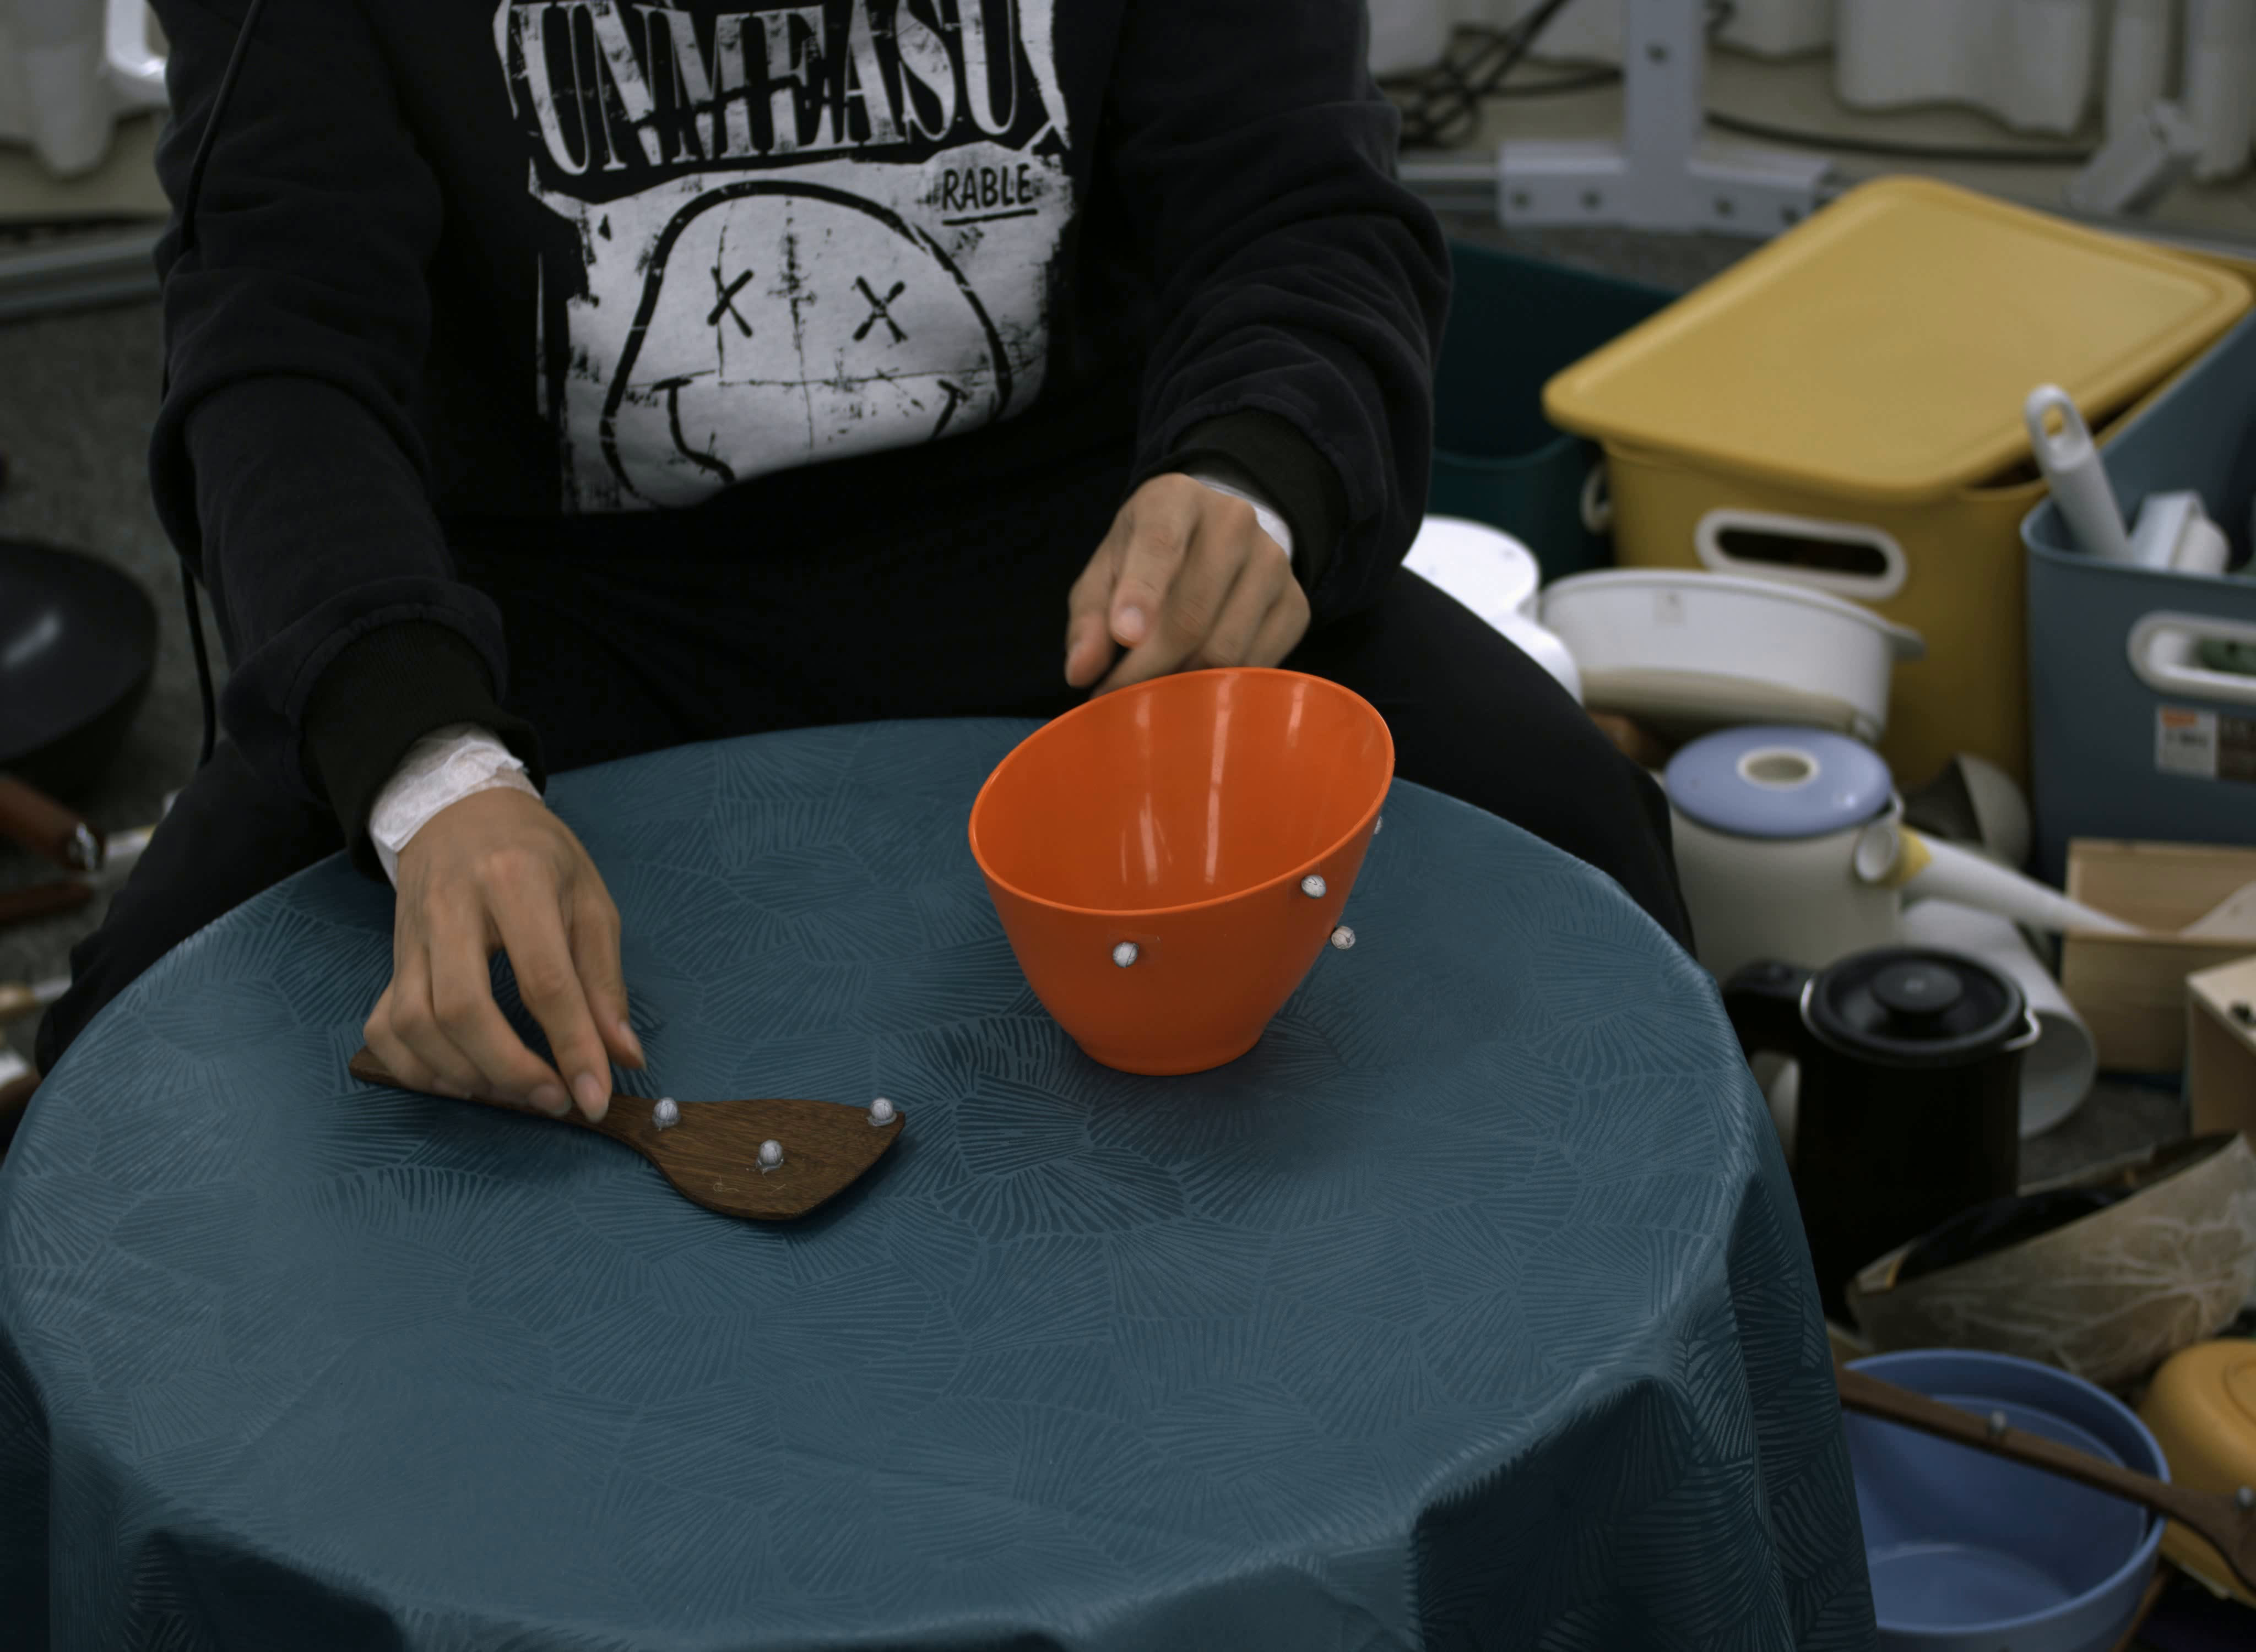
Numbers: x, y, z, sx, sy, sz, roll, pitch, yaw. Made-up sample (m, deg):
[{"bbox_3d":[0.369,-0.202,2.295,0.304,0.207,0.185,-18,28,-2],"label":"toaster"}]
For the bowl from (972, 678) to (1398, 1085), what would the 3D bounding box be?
[{"bbox_3d":[0.022,0.025,1.938,0.147,0.103,0.150,-2,27,2],"label":"bowl"}]

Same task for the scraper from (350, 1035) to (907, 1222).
[{"bbox_3d":[-0.176,0.099,1.915,0.210,0.011,0.077,12,30,28],"label":"scraper"}]
